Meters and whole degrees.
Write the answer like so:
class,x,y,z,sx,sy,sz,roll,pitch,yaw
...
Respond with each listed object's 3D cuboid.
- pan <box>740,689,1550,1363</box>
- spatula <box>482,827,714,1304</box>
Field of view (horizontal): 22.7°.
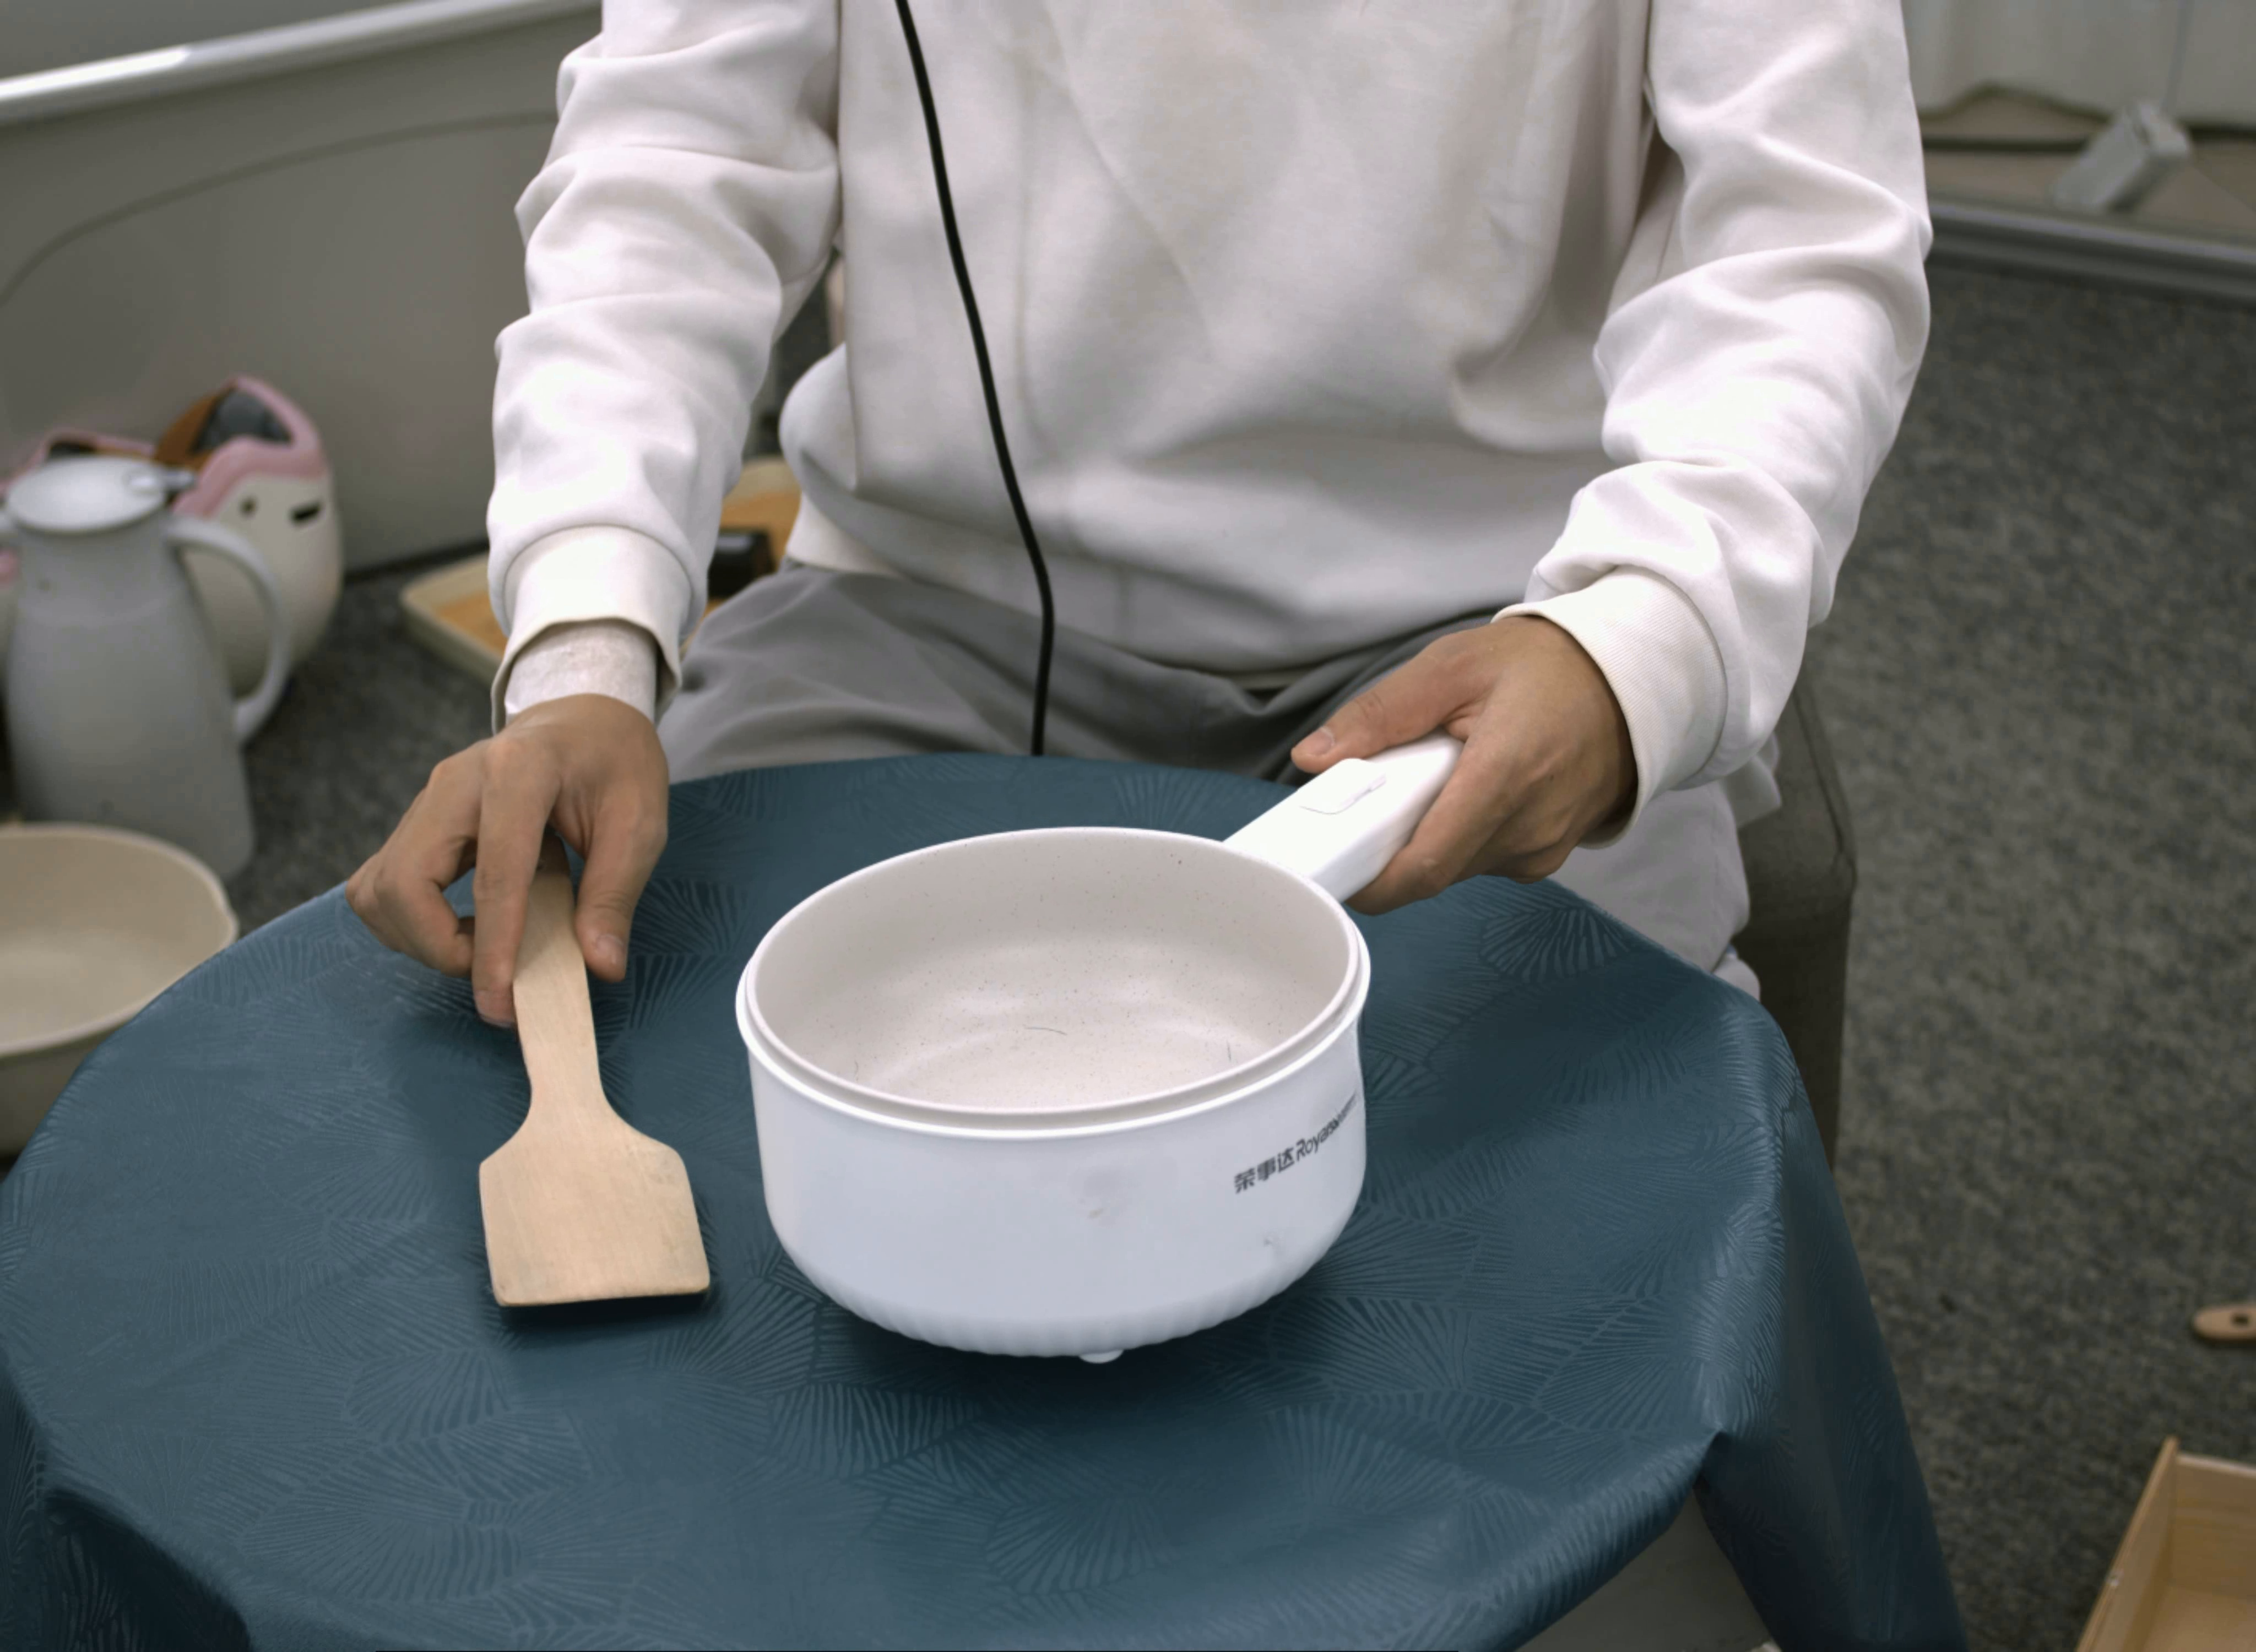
class,x,y,z,sx,sy,sz,roll,pitch,yaw
pan,0.025,0.061,1.848,0.200,0.101,0.360,14,29,34
spatula,-0.194,0.078,1.926,0.072,0.010,0.297,-3,31,-10
